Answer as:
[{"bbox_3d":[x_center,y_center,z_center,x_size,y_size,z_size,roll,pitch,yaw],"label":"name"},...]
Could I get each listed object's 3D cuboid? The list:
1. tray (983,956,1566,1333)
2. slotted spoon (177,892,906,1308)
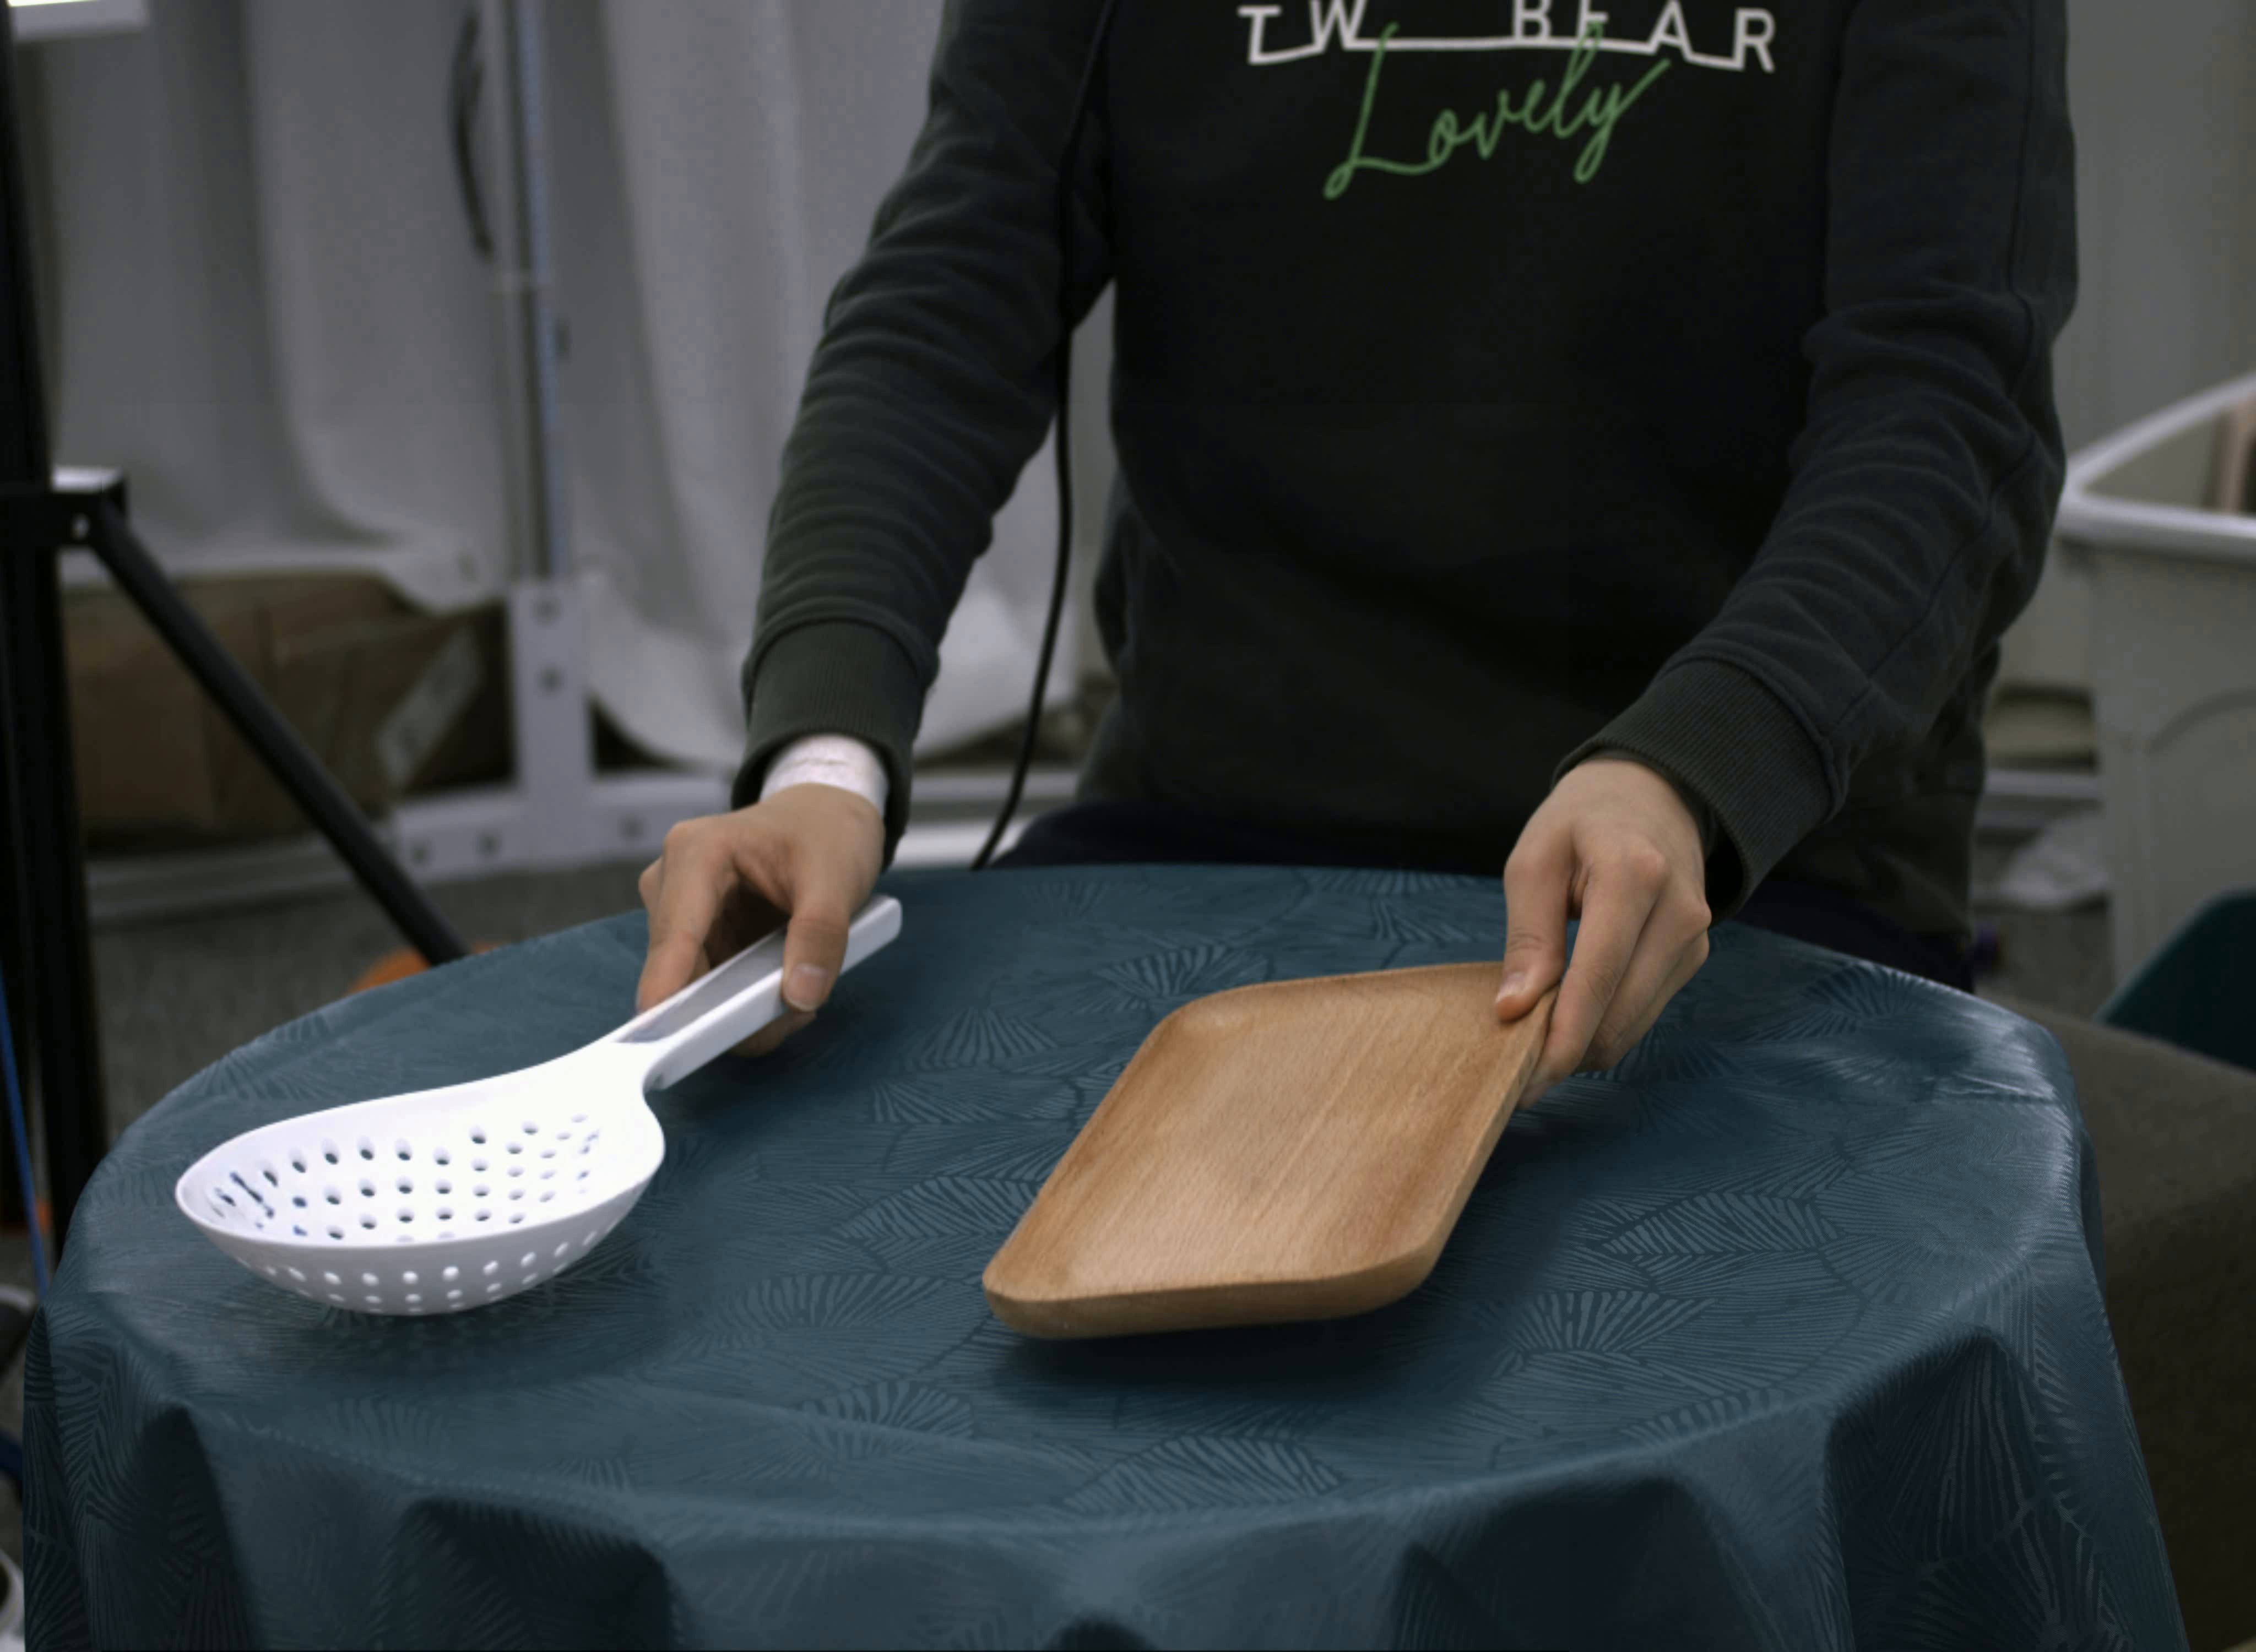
[{"bbox_3d":[0.047,0.088,1.509,0.132,0.023,0.249,-4,16,17],"label":"tray"},{"bbox_3d":[-0.153,0.073,1.587,0.138,0.045,0.345,4,21,24],"label":"slotted spoon"}]
